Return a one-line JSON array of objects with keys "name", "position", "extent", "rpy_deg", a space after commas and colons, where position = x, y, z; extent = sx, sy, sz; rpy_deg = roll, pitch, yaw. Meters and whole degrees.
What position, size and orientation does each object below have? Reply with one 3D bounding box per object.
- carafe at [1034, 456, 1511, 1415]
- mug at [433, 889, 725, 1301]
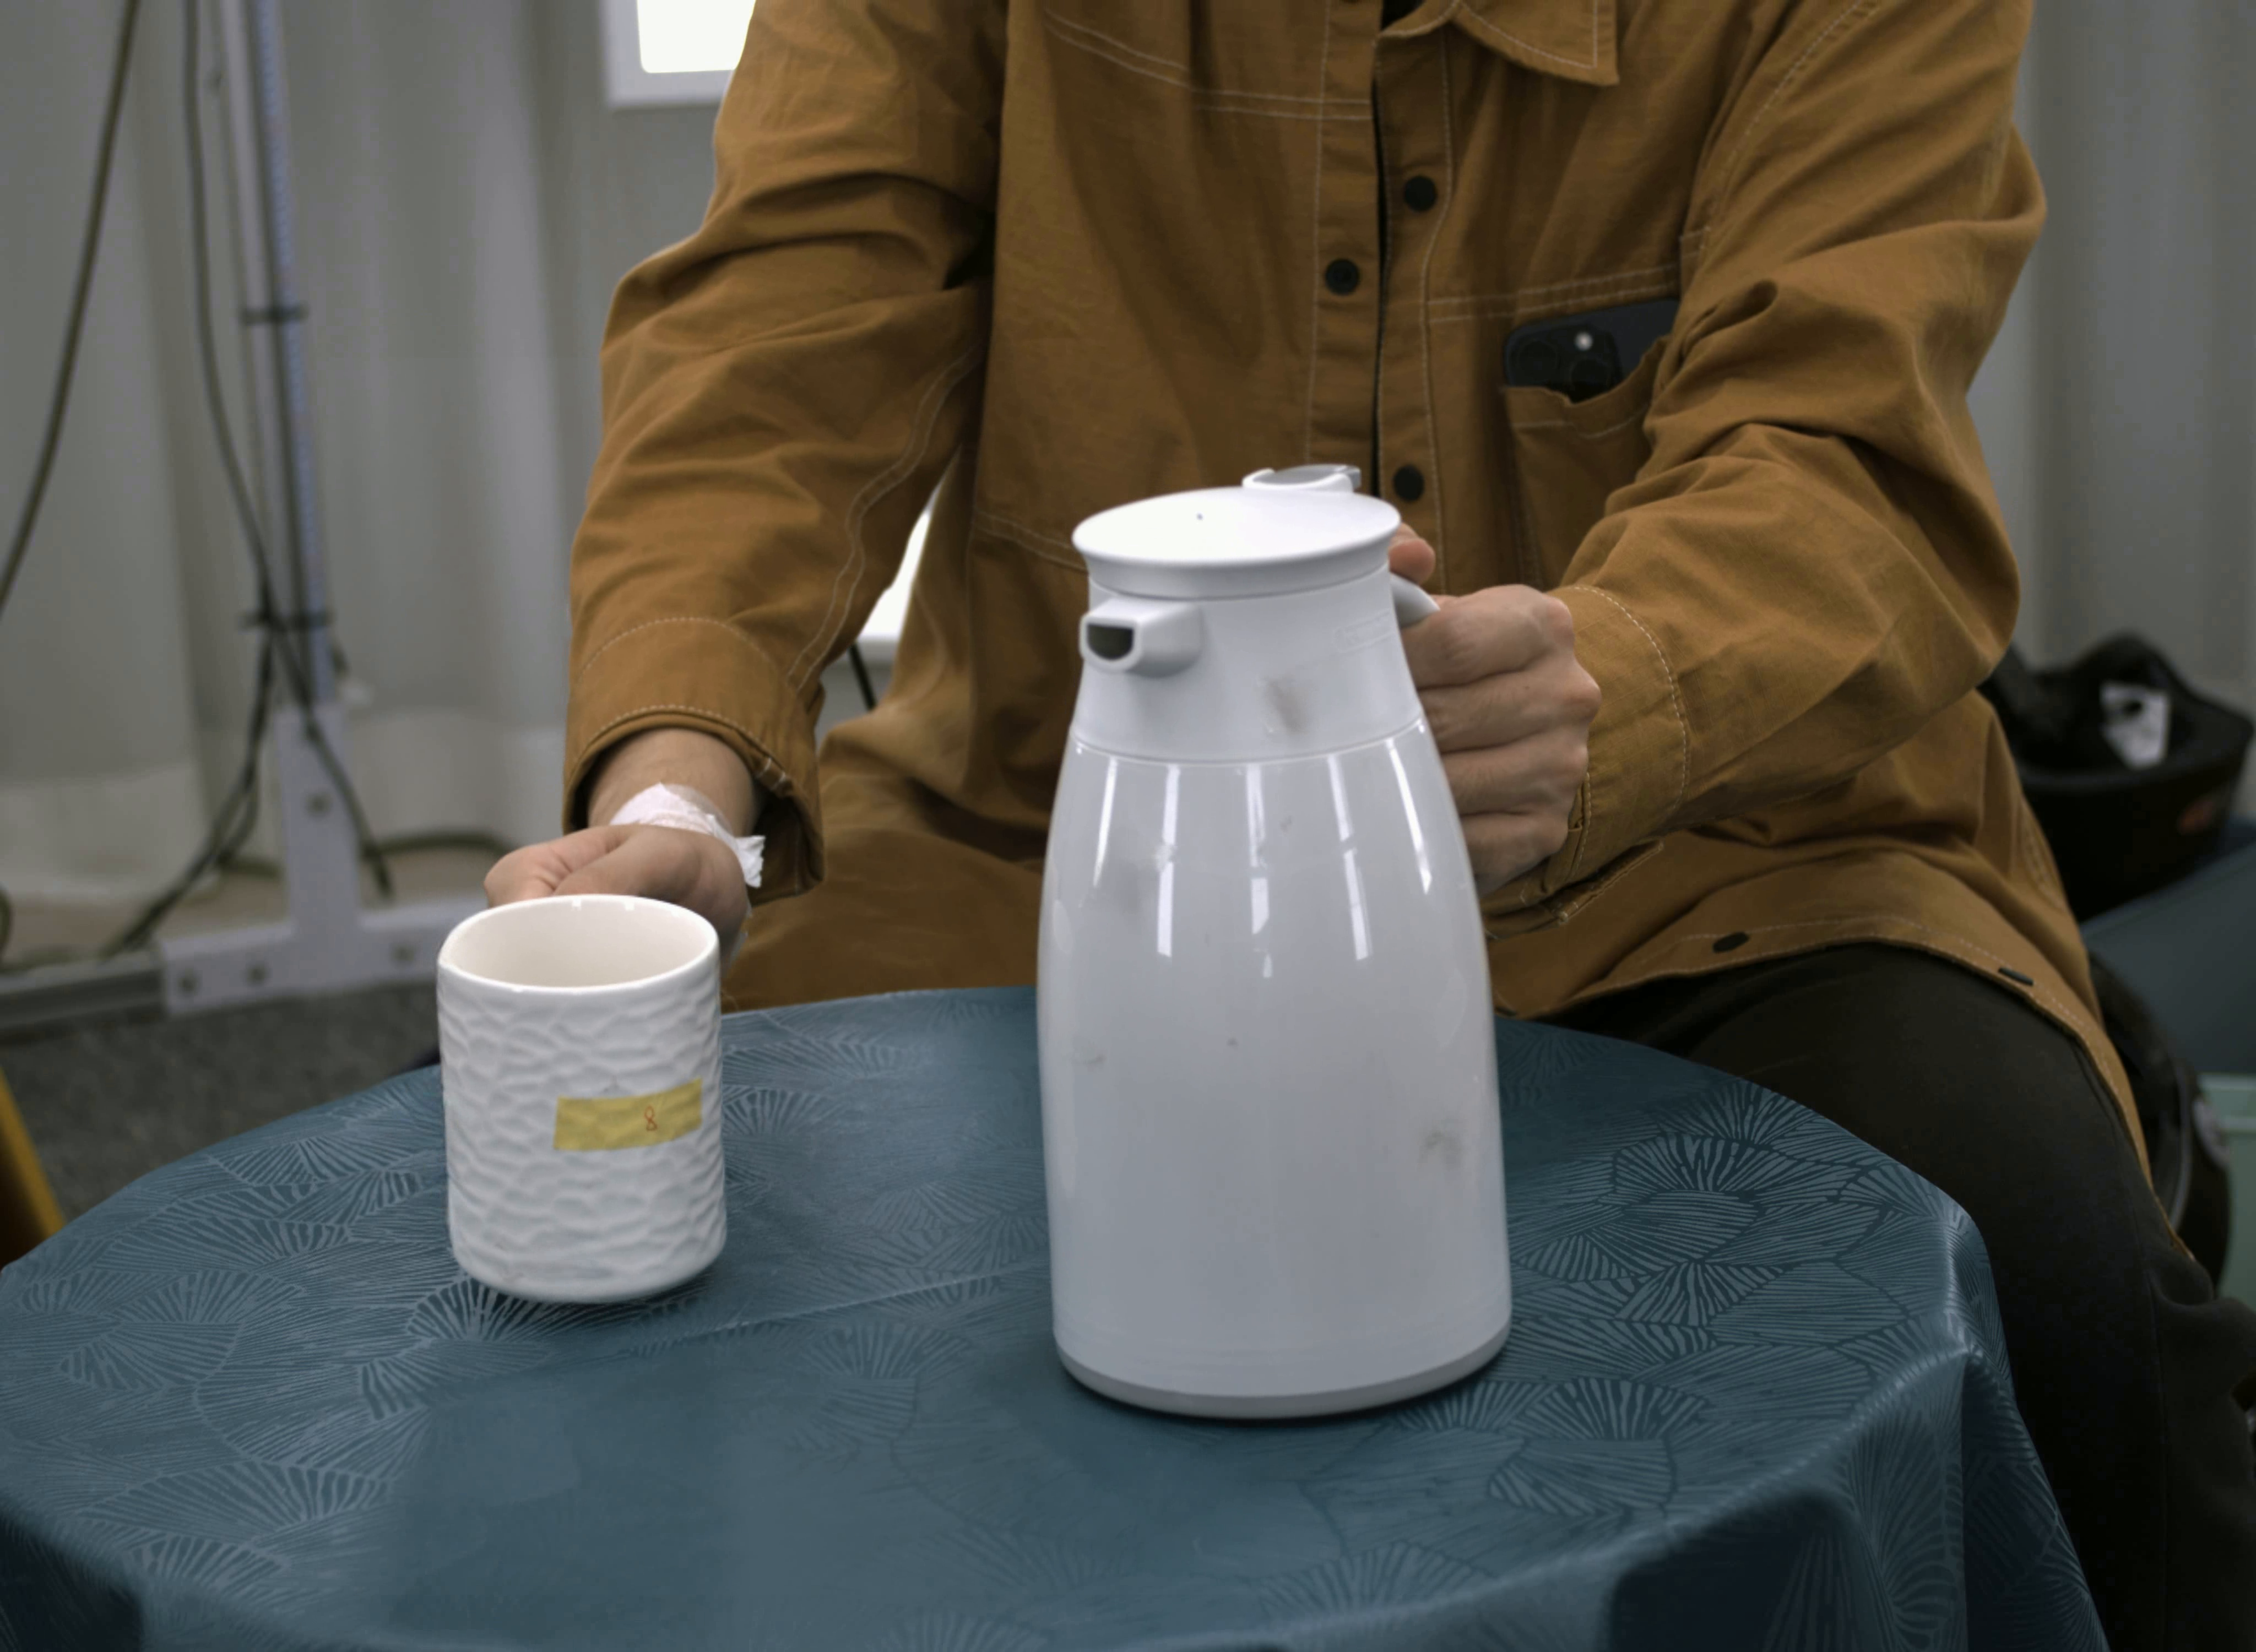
[{"name": "carafe", "position": [0.046, 0.022, 1.557], "extent": [0.133, 0.248, 0.168], "rpy_deg": [5, 16, 34]}, {"name": "mug", "position": [-0.165, 0.076, 1.654], "extent": [0.084, 0.101, 0.119], "rpy_deg": [-2, 18, -6]}]
